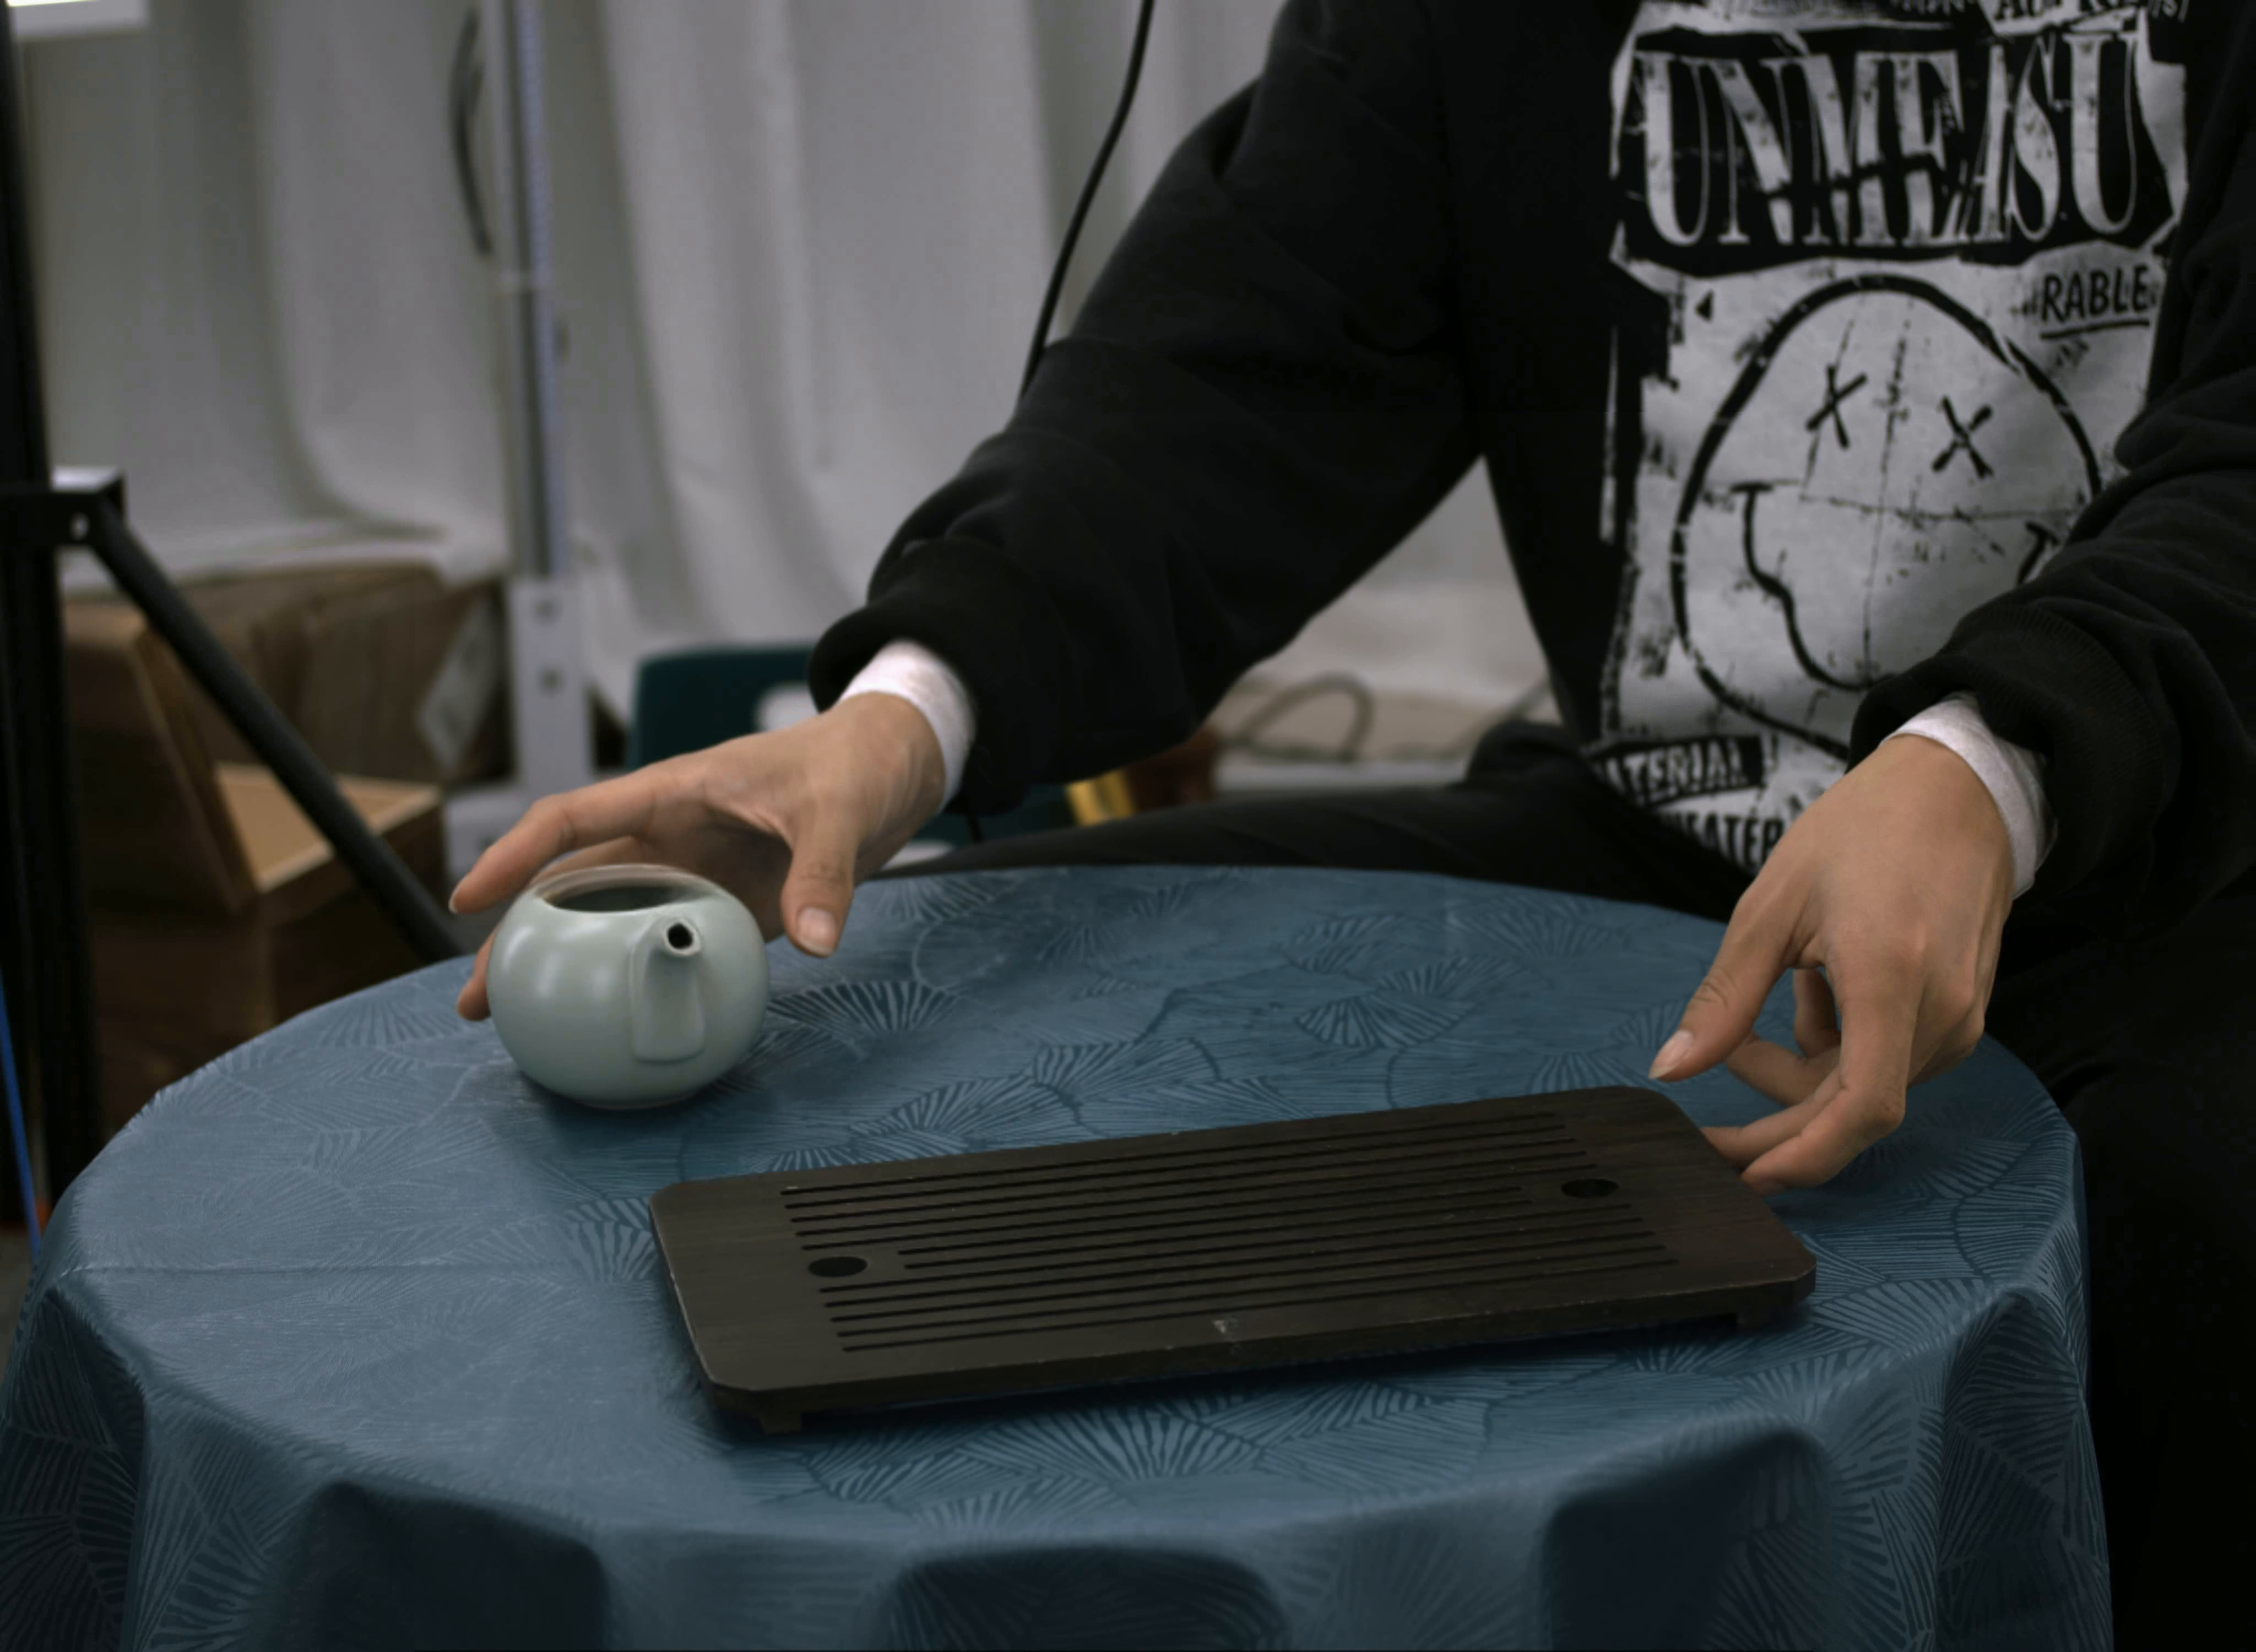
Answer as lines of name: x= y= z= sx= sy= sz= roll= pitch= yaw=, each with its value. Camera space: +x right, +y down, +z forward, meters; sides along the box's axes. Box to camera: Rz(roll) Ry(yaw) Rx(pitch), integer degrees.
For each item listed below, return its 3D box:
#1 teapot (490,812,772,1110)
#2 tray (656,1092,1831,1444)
teapot: x=-0.155 y=0.047 z=1.662 sx=0.087 sy=0.075 sz=0.146 roll=-7 pitch=18 yaw=-17
tray: x=0.028 y=0.121 z=1.471 sx=0.302 sy=0.018 sz=0.172 roll=-5 pitch=16 yaw=-8
